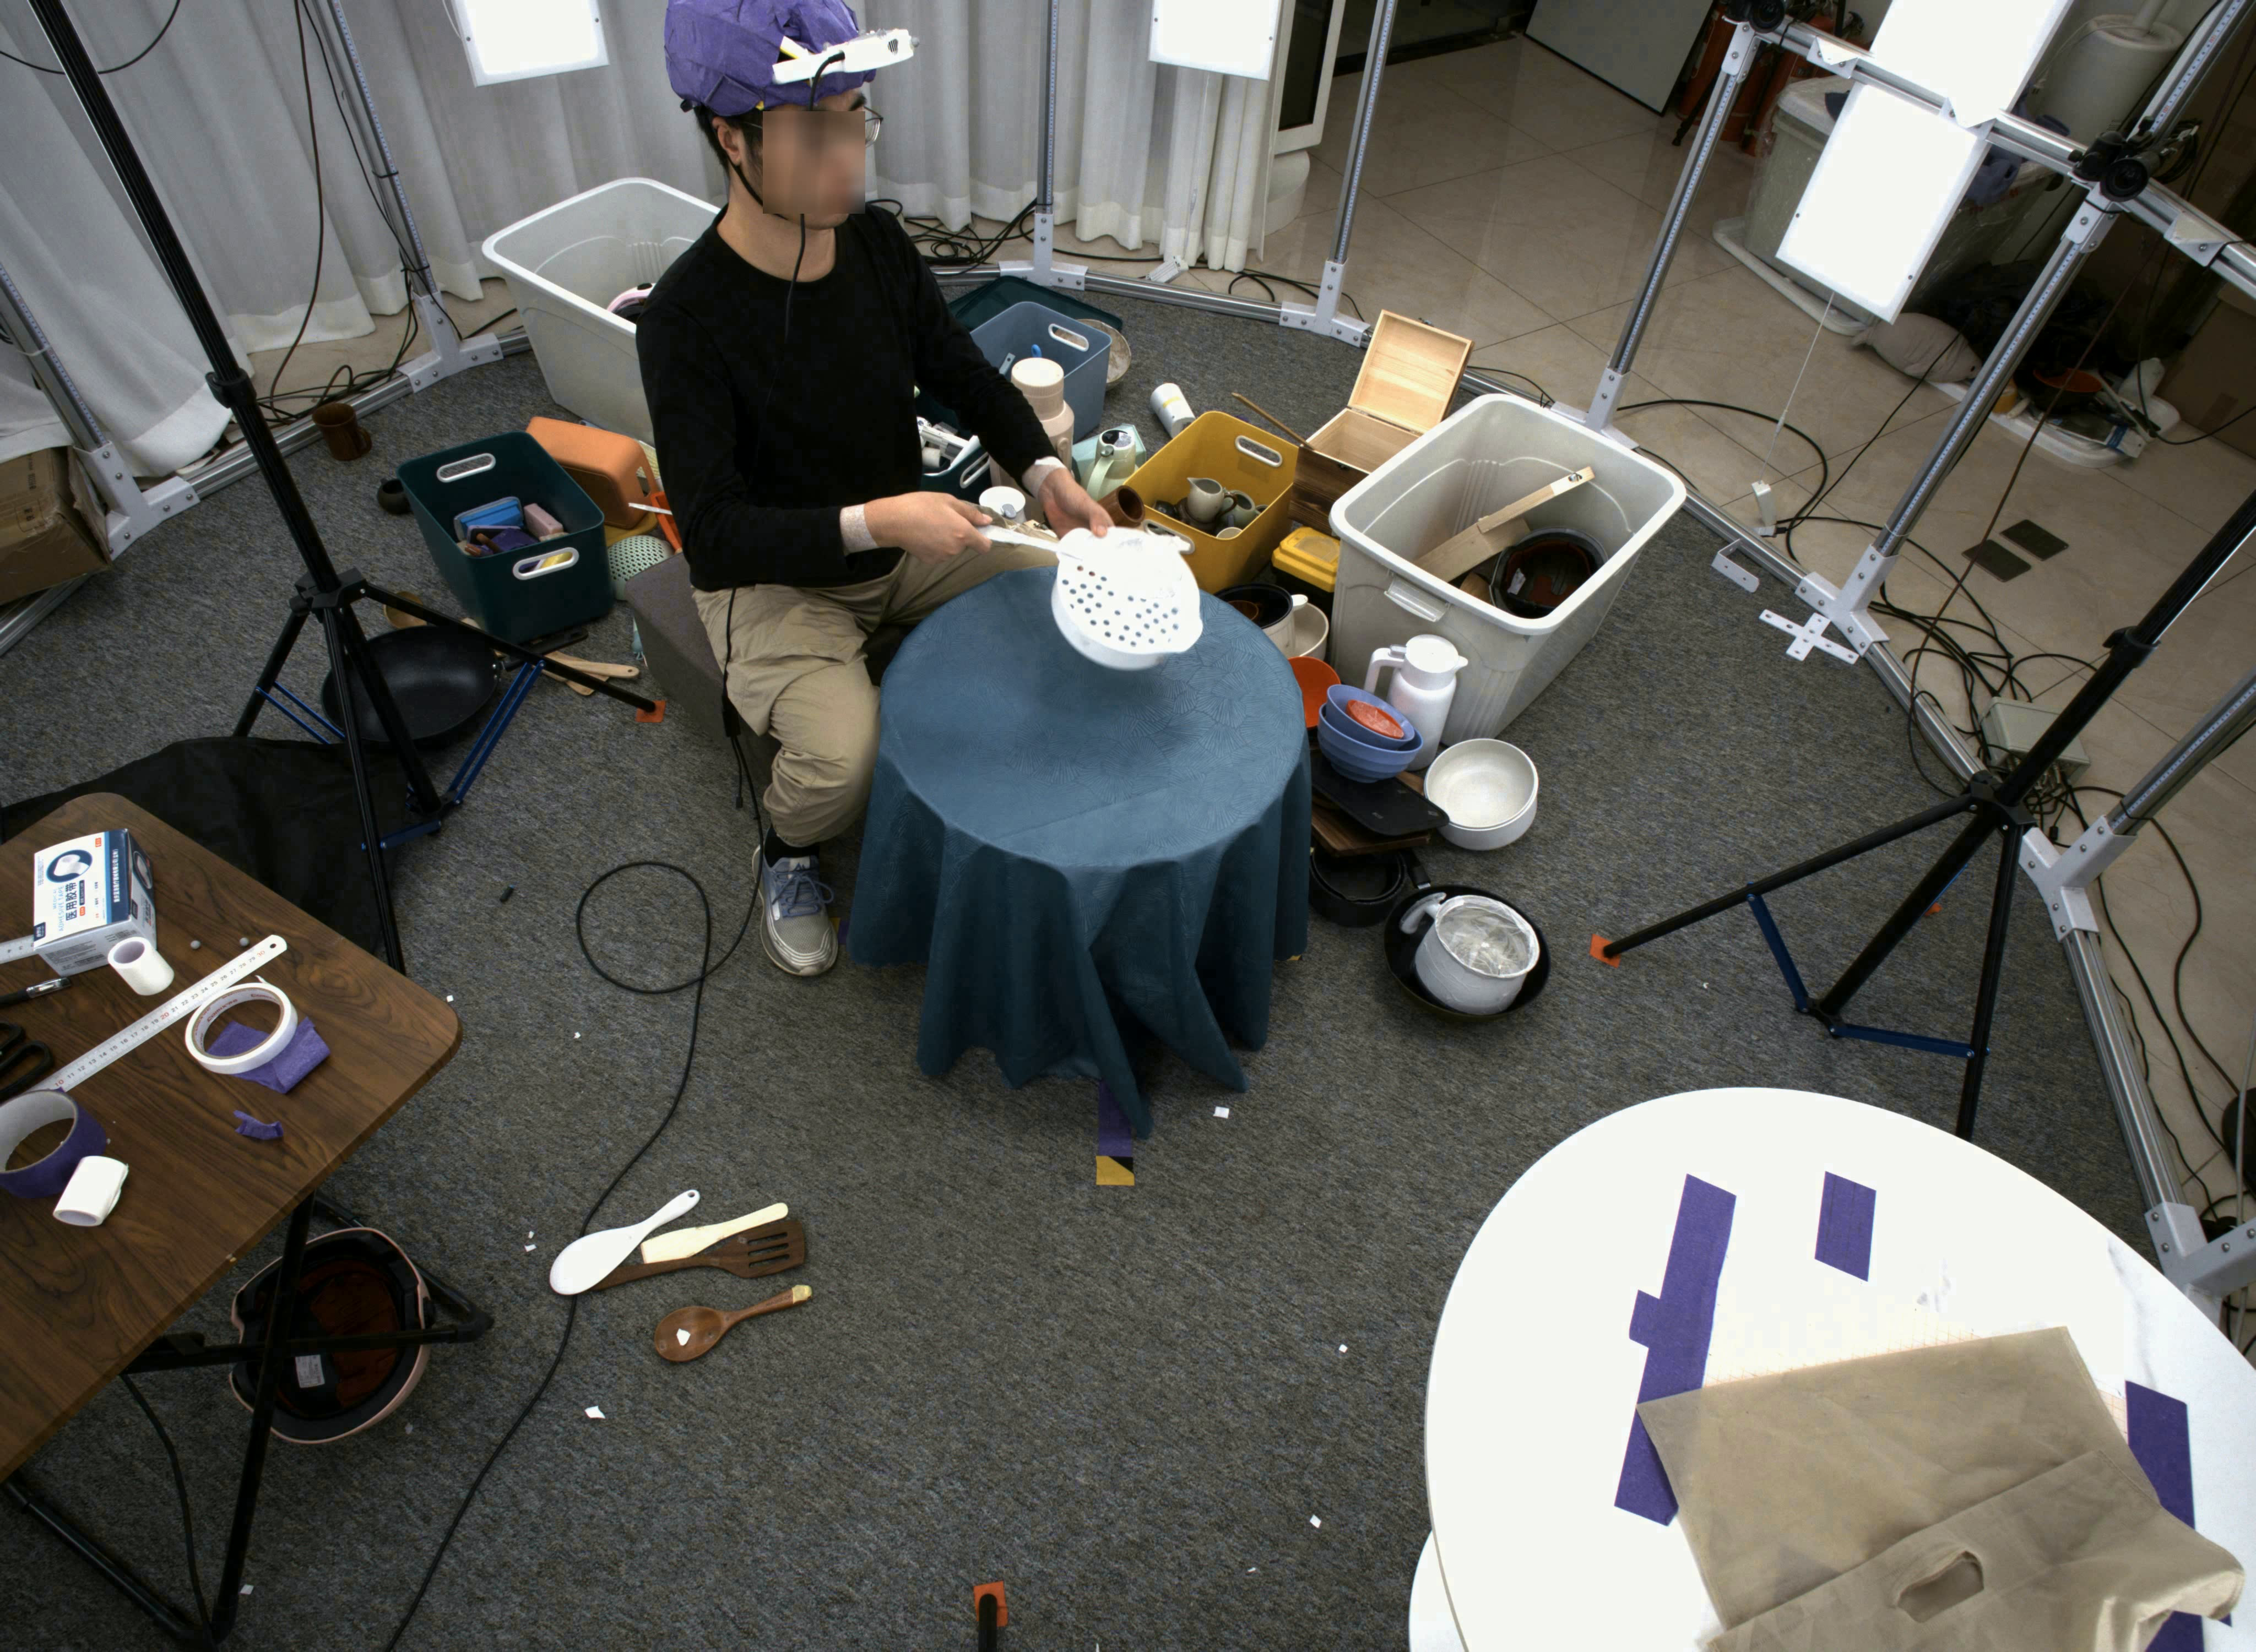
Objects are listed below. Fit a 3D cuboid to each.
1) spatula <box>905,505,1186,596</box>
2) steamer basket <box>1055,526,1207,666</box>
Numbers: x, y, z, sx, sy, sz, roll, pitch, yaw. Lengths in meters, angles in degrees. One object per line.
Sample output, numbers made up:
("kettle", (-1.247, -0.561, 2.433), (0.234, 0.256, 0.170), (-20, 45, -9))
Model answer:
("spatula", (-0.103, -0.368, 1.658), (0.363, 0.044, 0.100), (10, 70, -16))
("steamer basket", (-0.001, -0.312, 1.757), (0.232, 0.068, 0.204), (38, 58, 8))
